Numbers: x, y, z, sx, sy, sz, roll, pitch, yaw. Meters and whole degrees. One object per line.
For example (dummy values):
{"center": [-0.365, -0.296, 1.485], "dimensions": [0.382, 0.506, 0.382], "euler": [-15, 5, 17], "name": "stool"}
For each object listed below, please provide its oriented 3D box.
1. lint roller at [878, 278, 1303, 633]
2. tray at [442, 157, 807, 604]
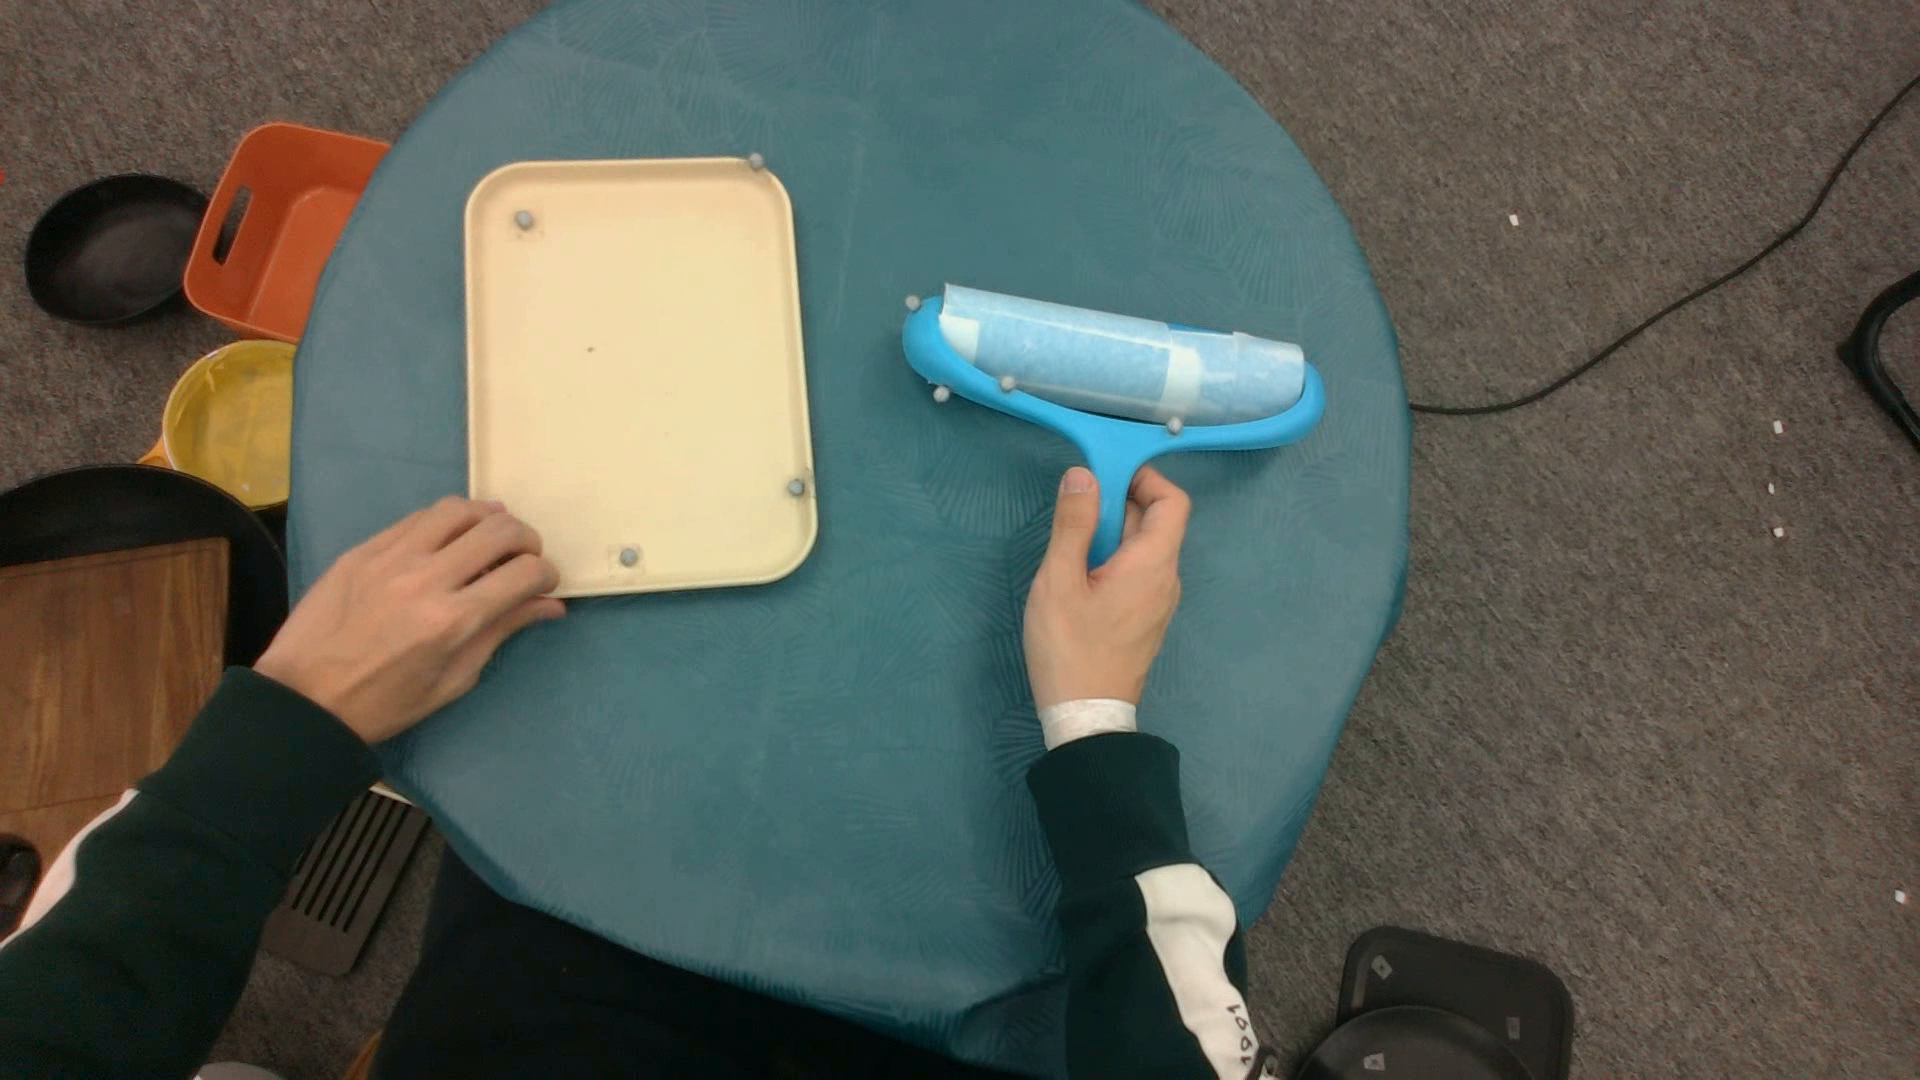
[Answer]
{"center": [0.068, -0.046, 0.716], "dimensions": [0.229, 0.067, 0.181], "euler": [5, 70, -7], "name": "lint roller"}
{"center": [-0.175, -0.087, 0.717], "dimensions": [0.171, 0.017, 0.240], "euler": [-6, 74, -8], "name": "tray"}
